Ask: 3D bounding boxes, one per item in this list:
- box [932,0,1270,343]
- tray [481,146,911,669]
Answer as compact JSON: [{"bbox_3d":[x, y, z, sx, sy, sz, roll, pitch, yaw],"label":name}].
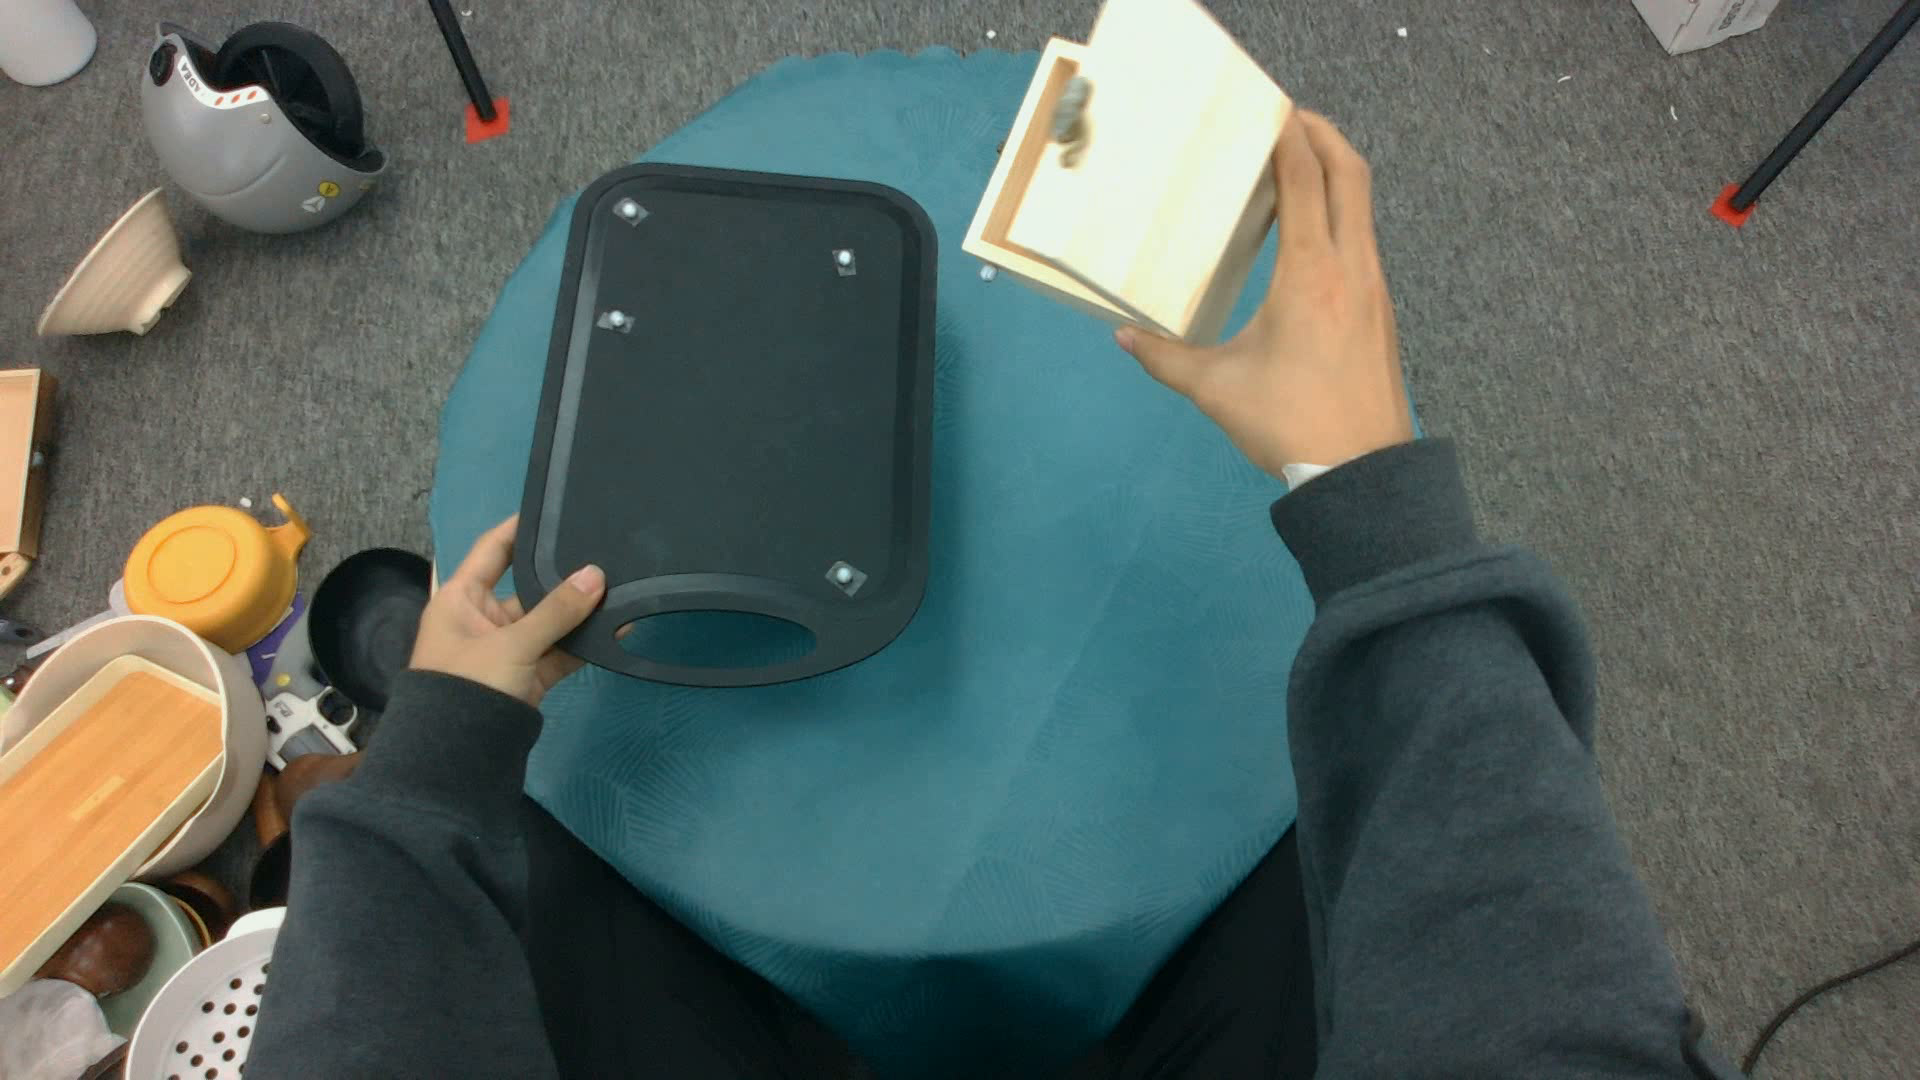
[{"bbox_3d":[0.048,-0.166,0.579,0.134,0.184,0.102,29,95,28],"label":"box"},{"bbox_3d":[-0.134,-0.083,0.742,0.211,0.010,0.326,3,63,-6],"label":"tray"}]
